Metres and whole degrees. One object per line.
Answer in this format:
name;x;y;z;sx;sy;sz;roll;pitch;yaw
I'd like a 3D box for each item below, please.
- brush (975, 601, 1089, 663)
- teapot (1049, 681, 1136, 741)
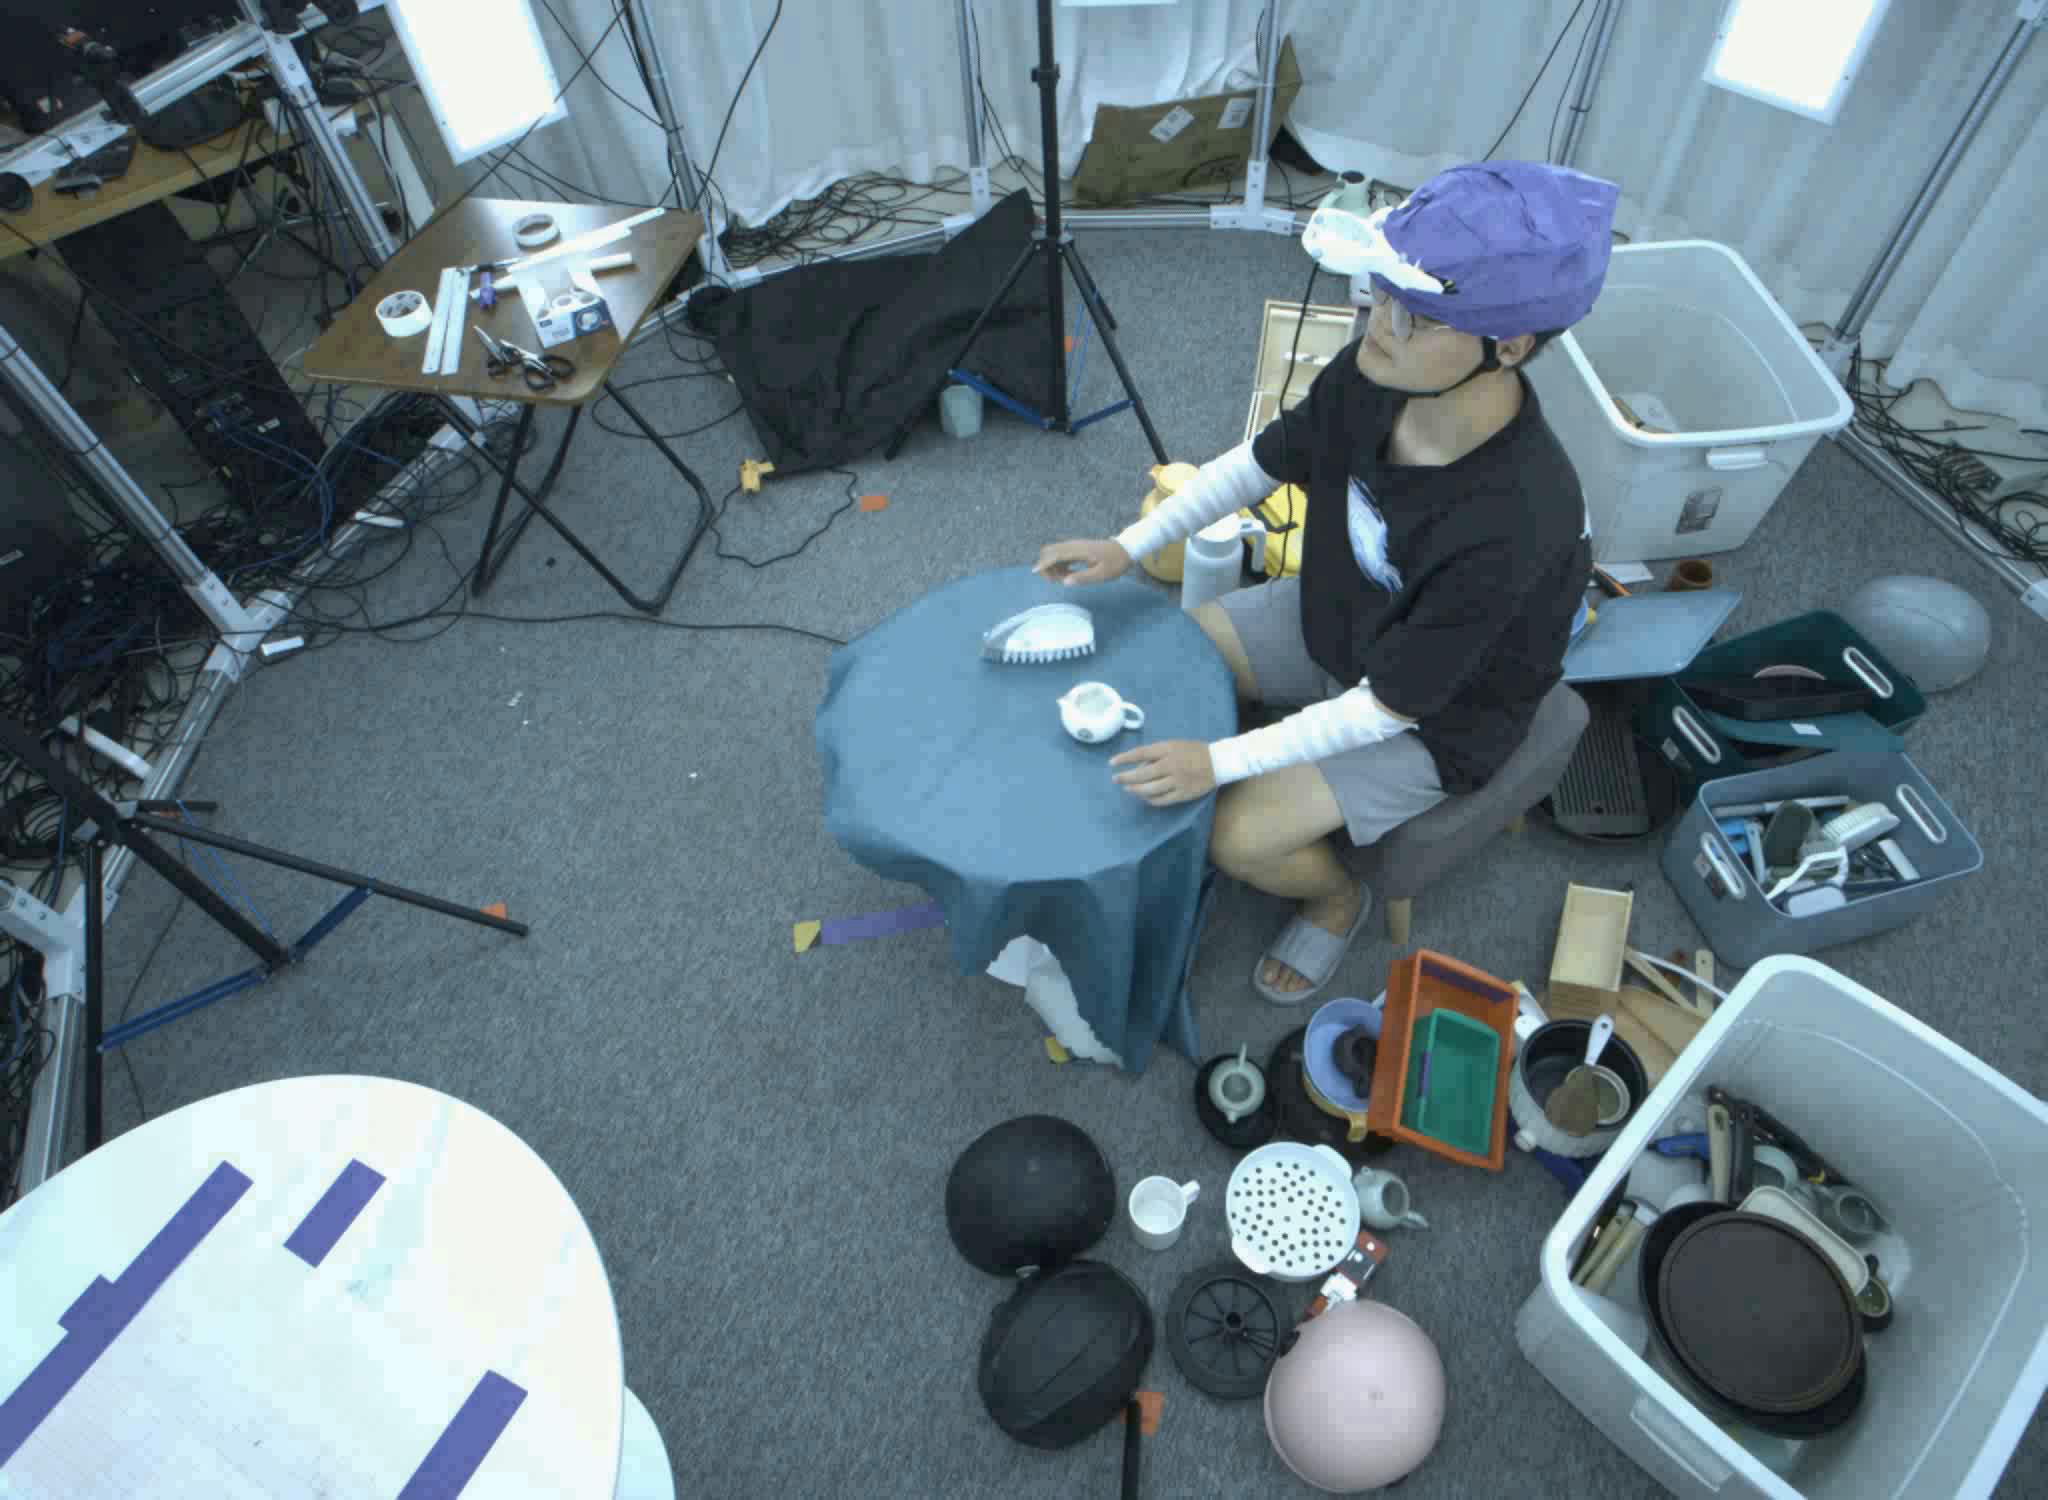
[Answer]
brush;0.008;-0.180;1.850;0.176;0.095;0.060;-10;52;-2
teapot;0.099;-0.056;1.781;0.127;0.057;0.092;3;51;3
